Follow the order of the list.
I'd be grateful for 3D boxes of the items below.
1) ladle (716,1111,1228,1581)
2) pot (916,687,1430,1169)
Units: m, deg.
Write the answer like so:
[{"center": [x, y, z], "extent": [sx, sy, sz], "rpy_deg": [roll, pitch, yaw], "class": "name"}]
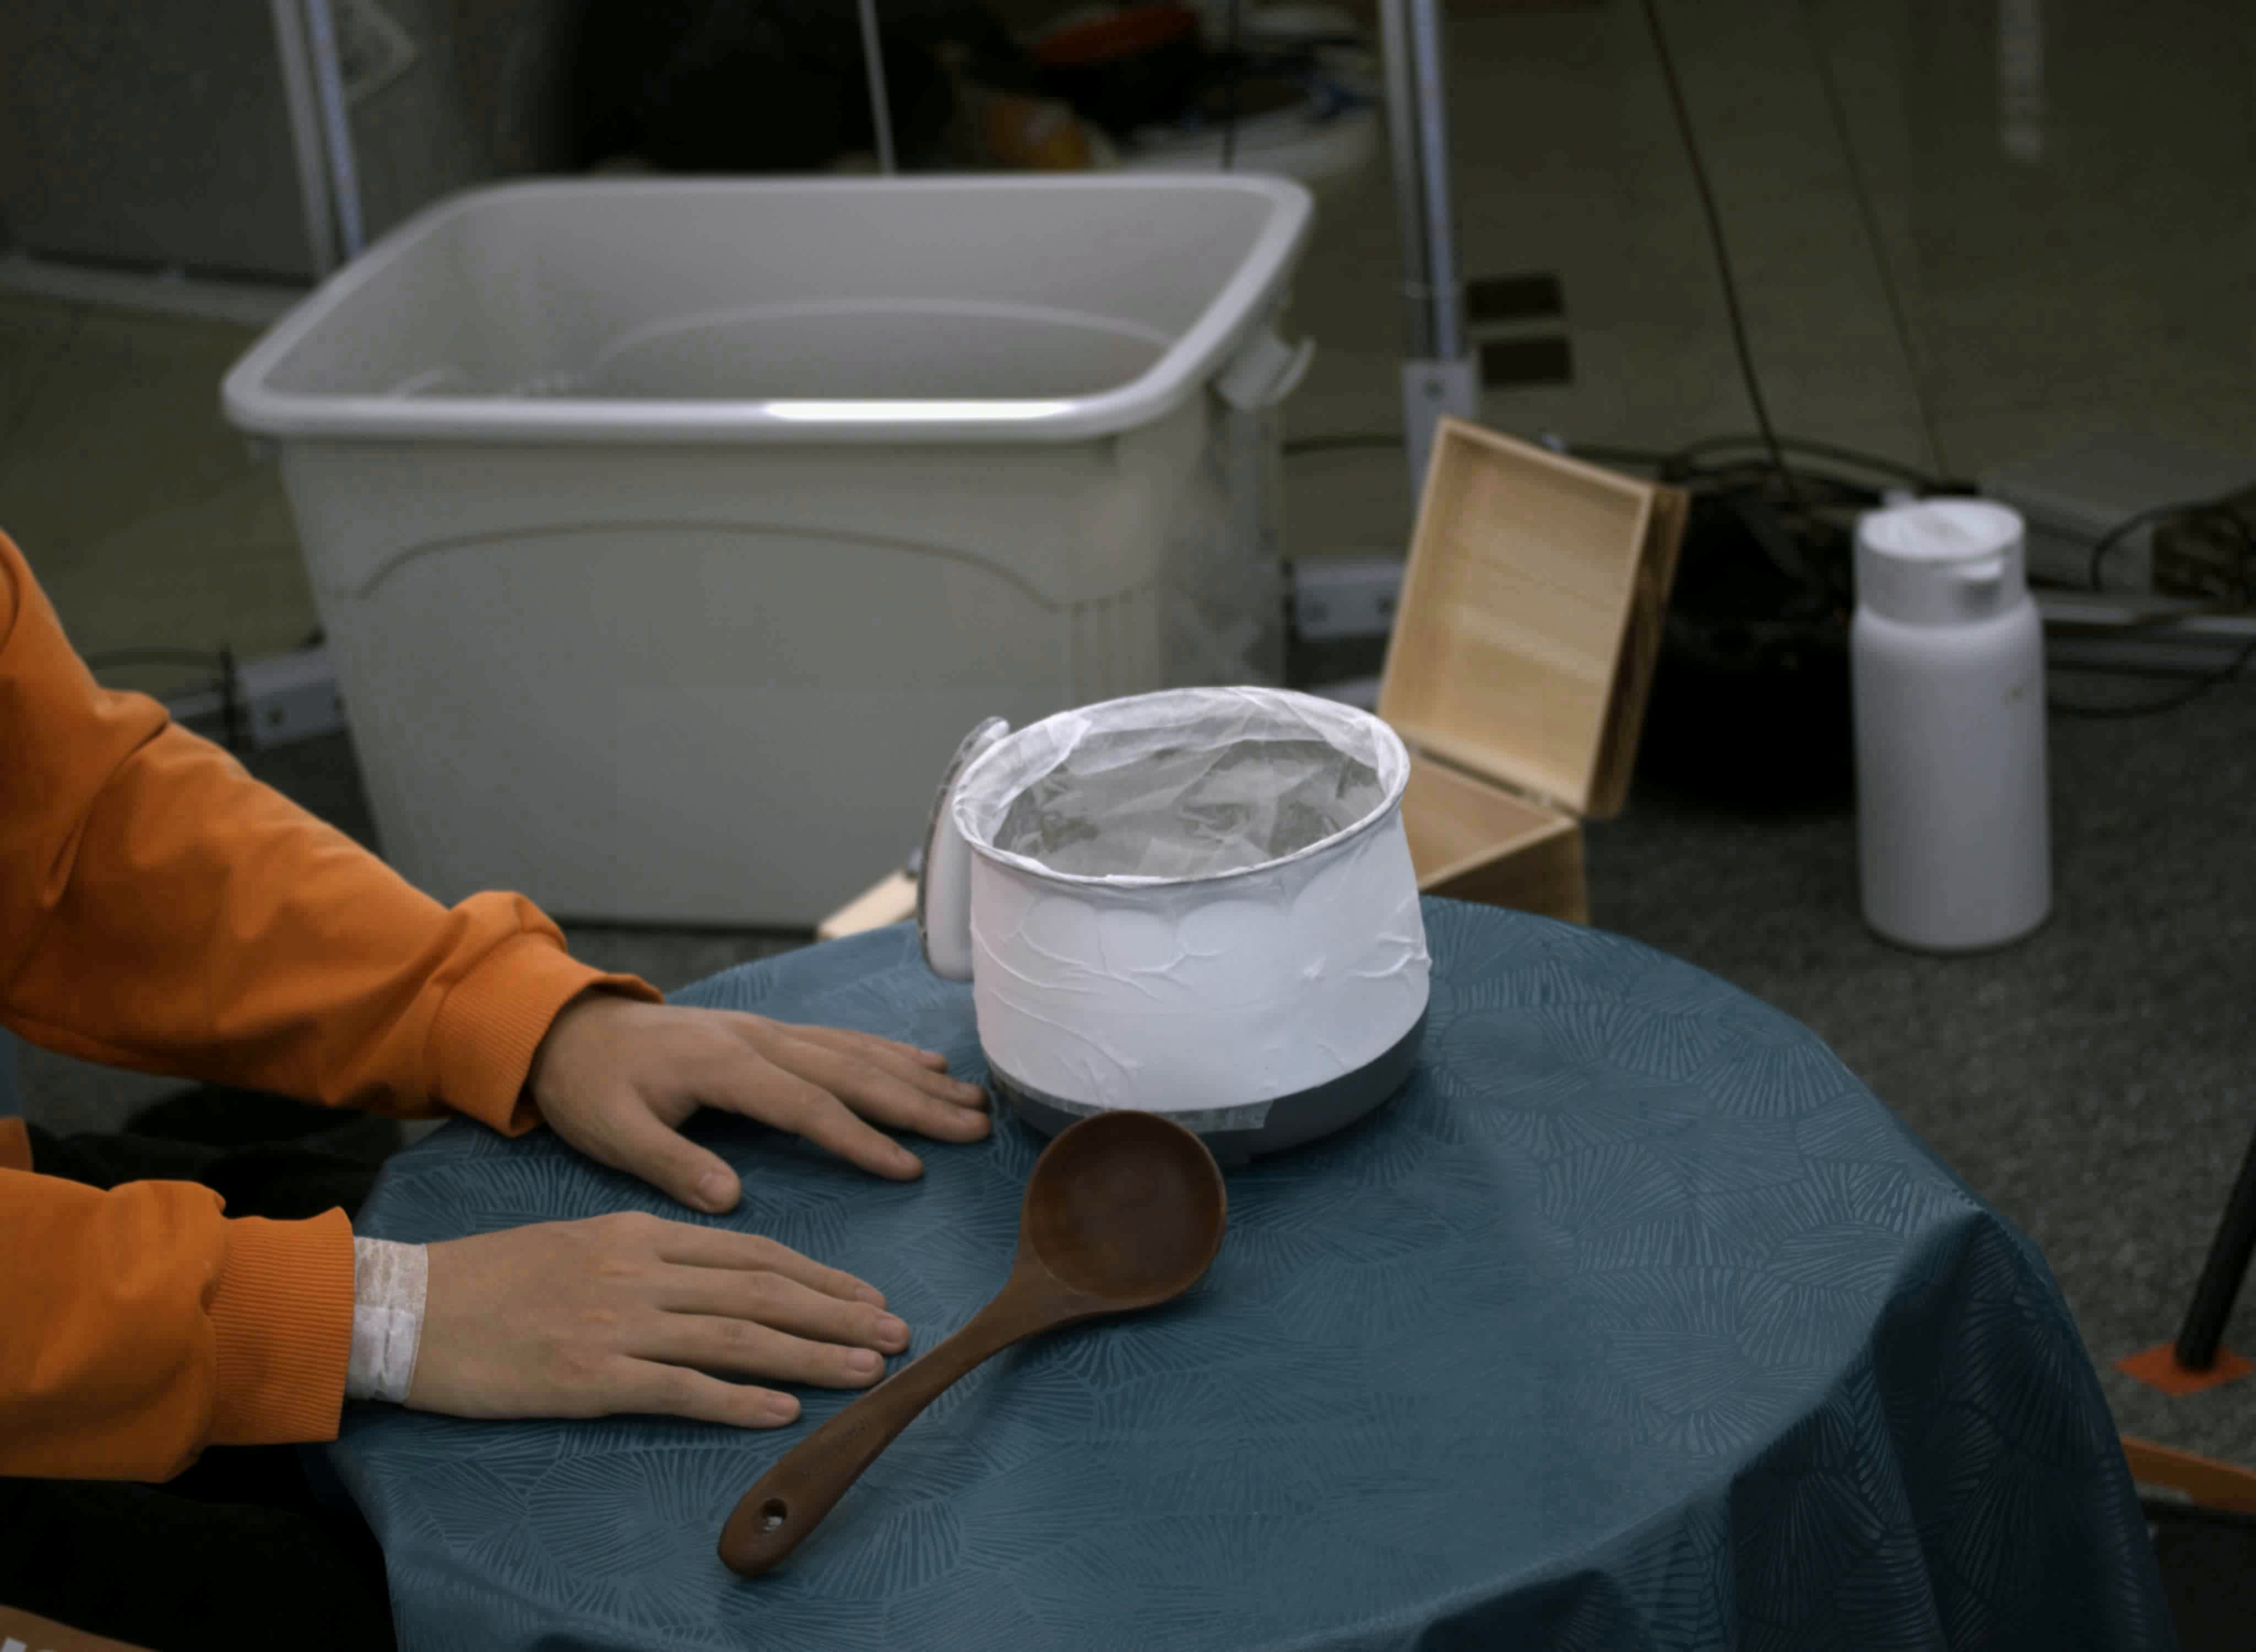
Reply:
[{"center": [-0.056, 0.181, 2.000], "extent": [0.076, 0.066, 0.257], "rpy_deg": [35, 40, 19], "class": "ladle"}, {"center": [0.005, 0.035, 2.205], "extent": [0.232, 0.139, 0.177], "rpy_deg": [15, 33, 38], "class": "pot"}]
